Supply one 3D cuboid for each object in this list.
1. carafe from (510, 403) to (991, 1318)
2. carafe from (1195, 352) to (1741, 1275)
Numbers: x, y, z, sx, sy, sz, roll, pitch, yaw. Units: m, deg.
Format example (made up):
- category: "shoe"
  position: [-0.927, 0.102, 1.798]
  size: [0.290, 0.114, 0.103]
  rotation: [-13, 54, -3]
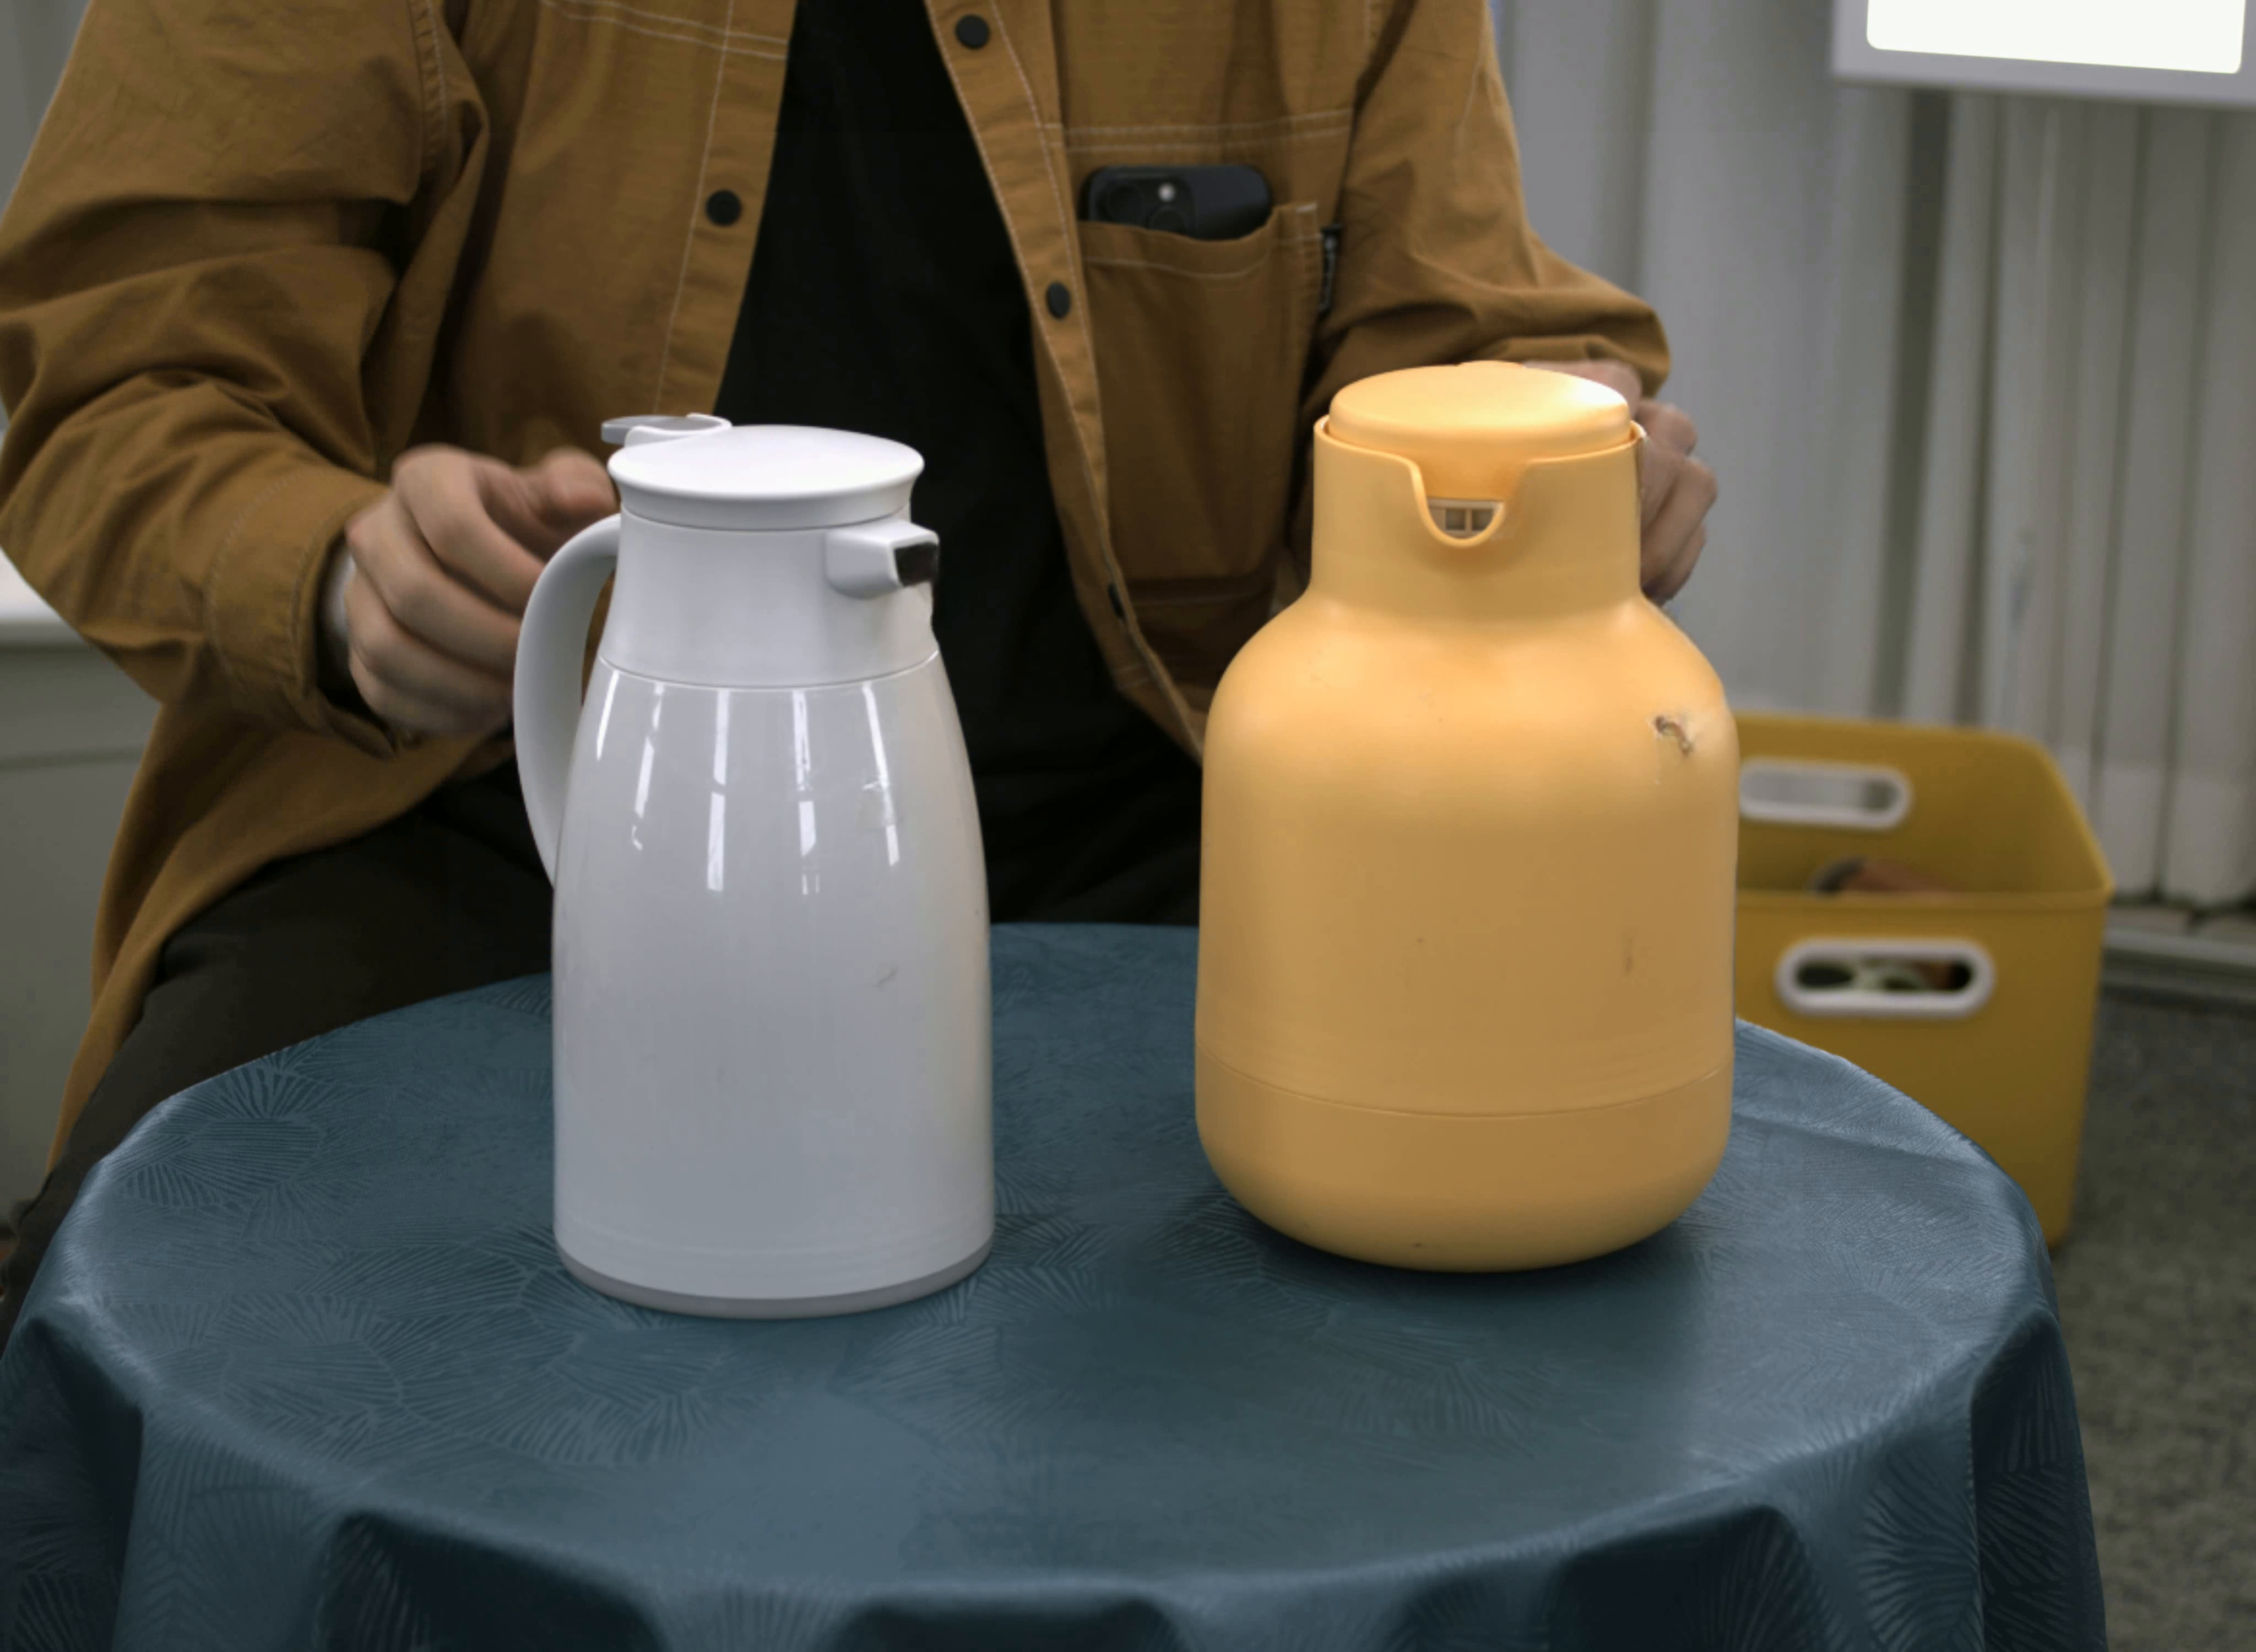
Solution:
- category: "carafe"
  position: [-0.120, 0.002, 1.550]
  size: [0.165, 0.250, 0.133]
  rotation: [14, 21, 40]
- category: "carafe"
  position: [0.107, -0.012, 1.587]
  size: [0.162, 0.262, 0.202]
  rotation: [4, 18, 8]
